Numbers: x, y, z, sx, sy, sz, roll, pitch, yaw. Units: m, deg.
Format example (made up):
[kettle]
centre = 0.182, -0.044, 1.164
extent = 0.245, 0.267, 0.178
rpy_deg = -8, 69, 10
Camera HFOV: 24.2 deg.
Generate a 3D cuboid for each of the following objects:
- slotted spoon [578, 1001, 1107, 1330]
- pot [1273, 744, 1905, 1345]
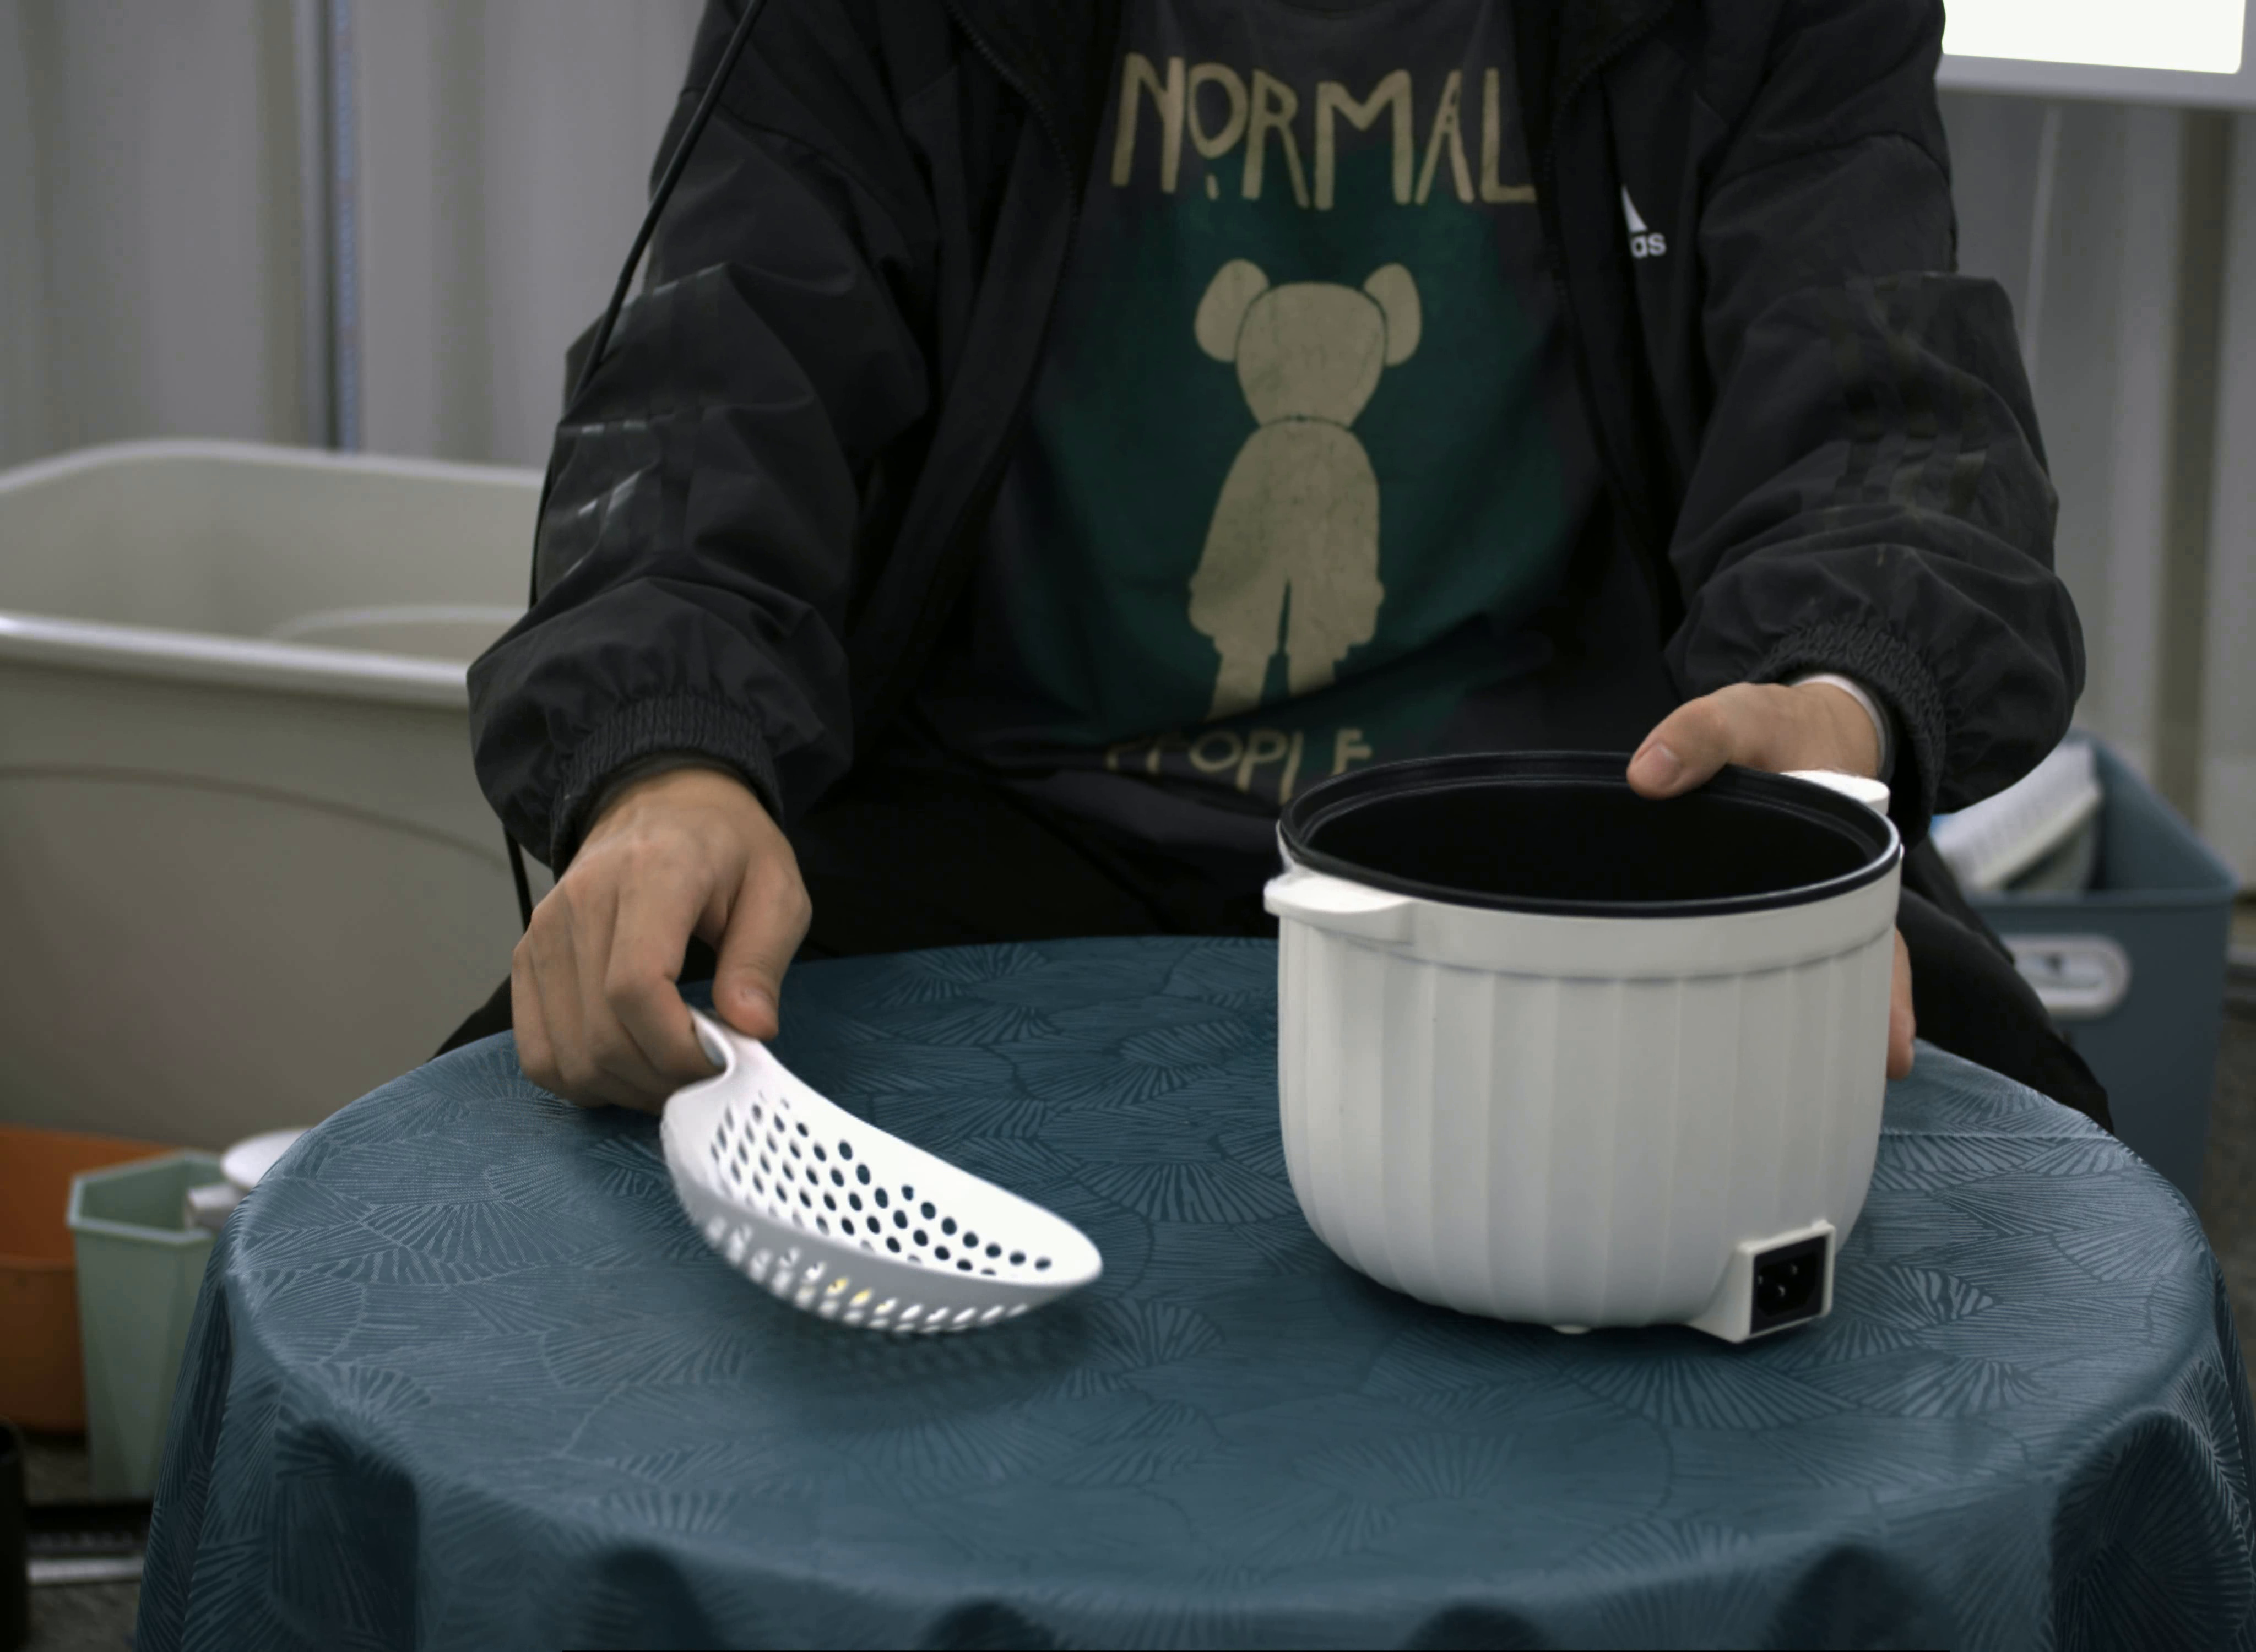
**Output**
[slotted spoon]
centre = -0.112, 0.090, 1.604
extent = 0.137, 0.050, 0.344
rpy_deg = 9, 13, -21
[pot]
centre = 0.128, 0.062, 1.547
extent = 0.242, 0.144, 0.188
rpy_deg = -10, 22, -41
